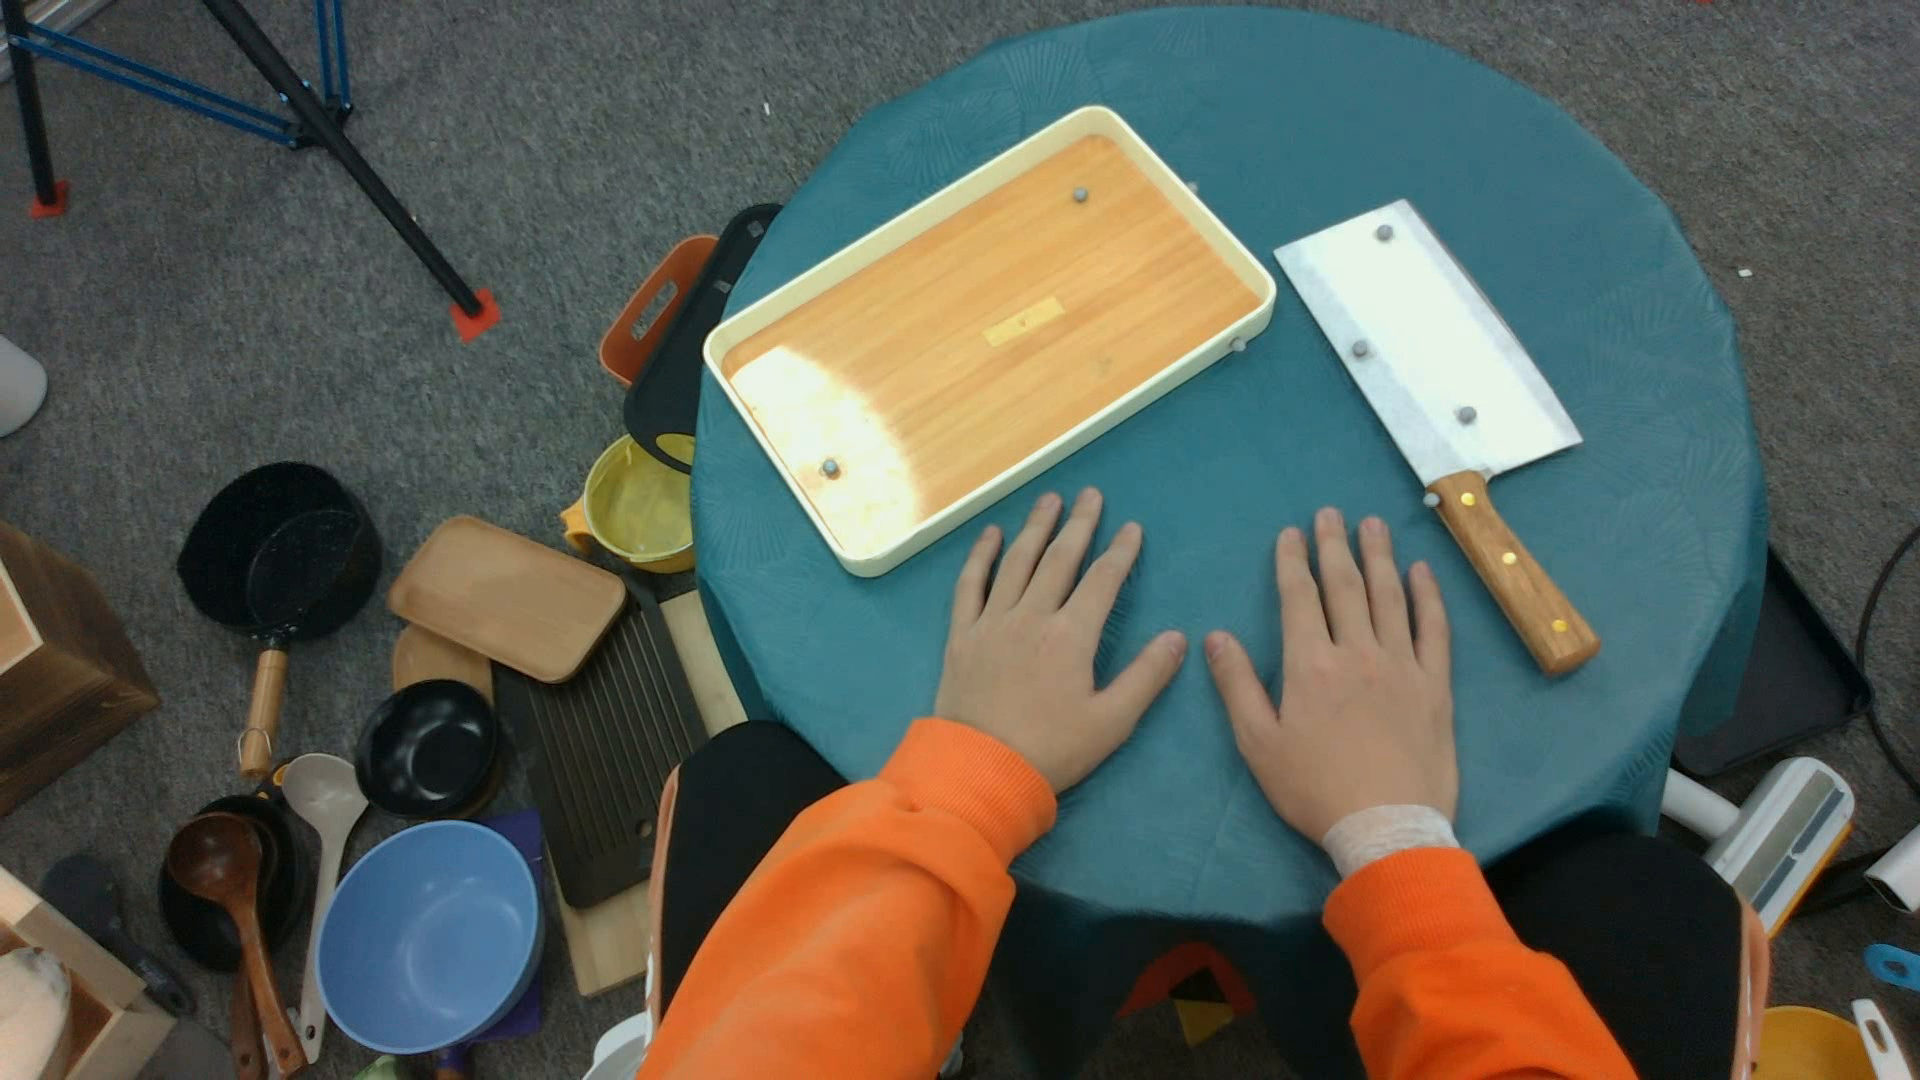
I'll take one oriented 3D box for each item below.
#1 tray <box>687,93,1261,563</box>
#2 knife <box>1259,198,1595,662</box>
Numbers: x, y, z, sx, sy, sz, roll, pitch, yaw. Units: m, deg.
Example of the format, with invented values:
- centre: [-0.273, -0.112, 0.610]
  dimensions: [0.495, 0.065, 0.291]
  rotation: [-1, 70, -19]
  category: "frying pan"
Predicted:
- centre: [0.007, -0.133, 0.817]
  dimensions: [0.301, 0.027, 0.192]
  rotation: [-33, 66, -9]
  category: "tray"
- centre: [0.274, -0.076, 0.764]
  dimensions: [0.093, 0.021, 0.306]
  rotation: [-22, 62, -5]
  category: "knife"
